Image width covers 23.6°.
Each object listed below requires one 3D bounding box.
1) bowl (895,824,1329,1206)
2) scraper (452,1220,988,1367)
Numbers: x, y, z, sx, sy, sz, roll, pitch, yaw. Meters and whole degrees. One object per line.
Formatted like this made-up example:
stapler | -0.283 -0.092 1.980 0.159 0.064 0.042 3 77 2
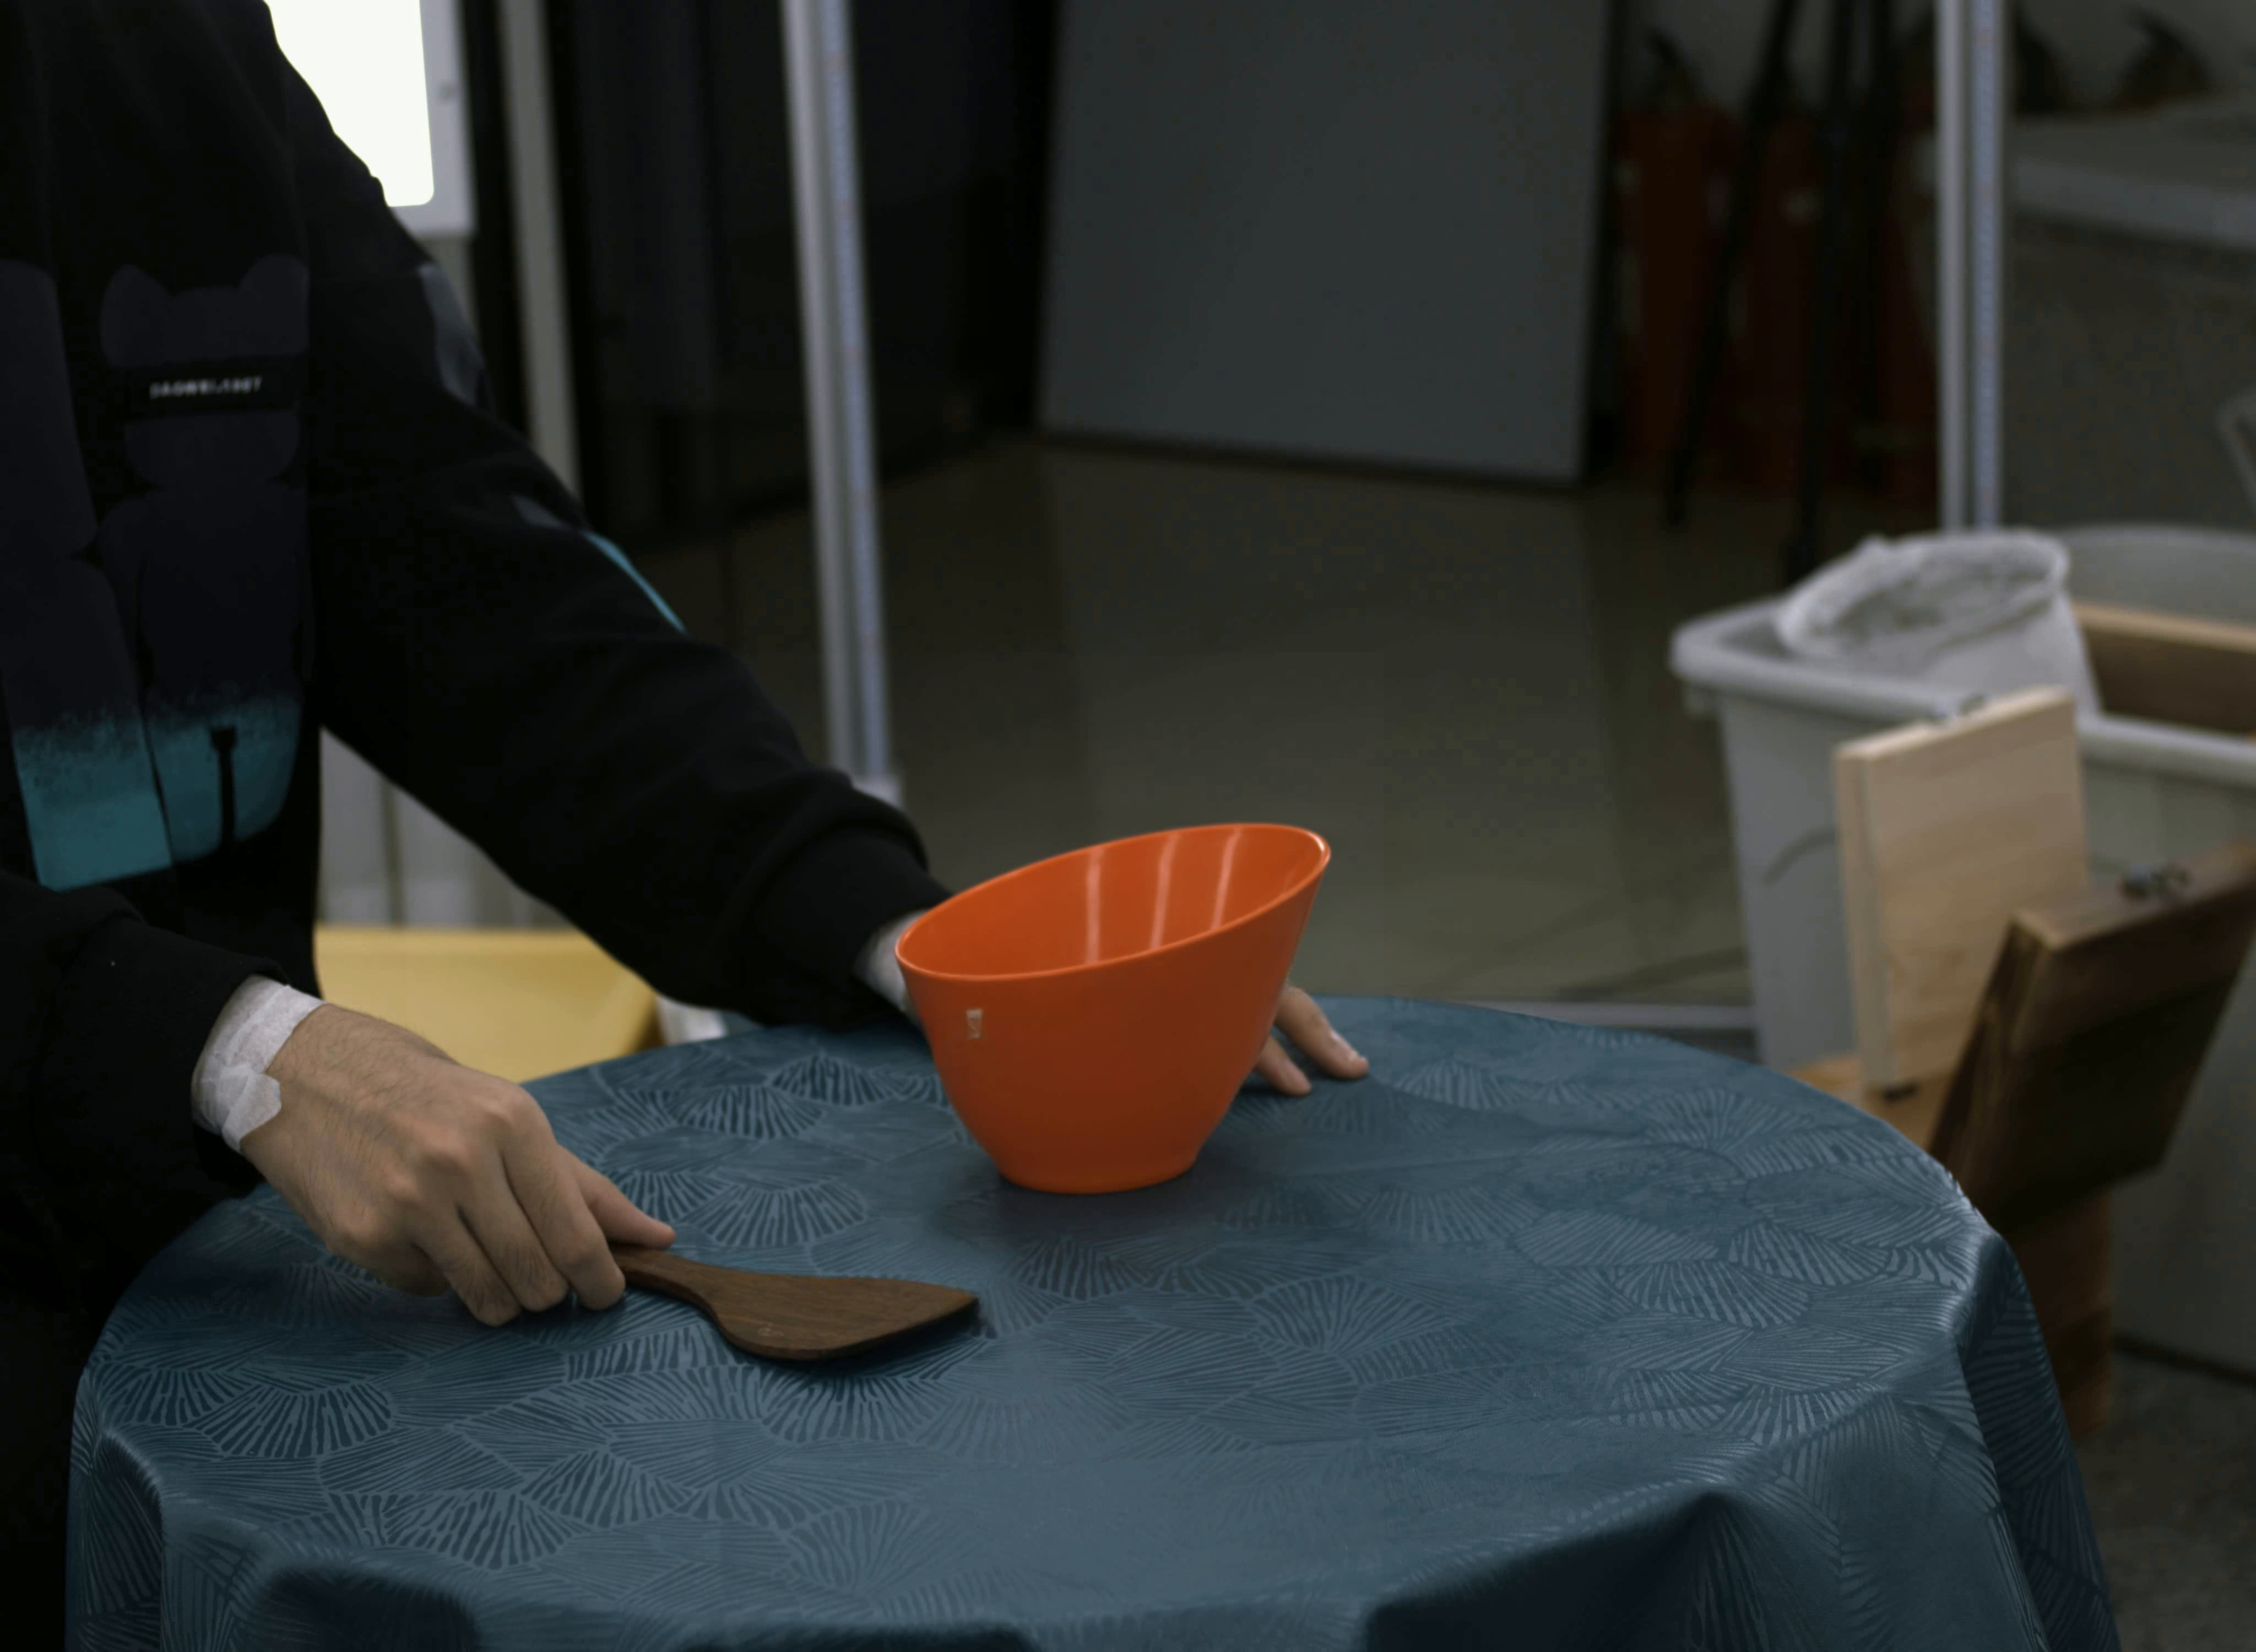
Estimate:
bowl | -0.002 0.065 1.789 0.146 0.106 0.148 -5 15 1
scraper | -0.137 0.145 1.701 0.213 0.011 0.074 8 17 43
